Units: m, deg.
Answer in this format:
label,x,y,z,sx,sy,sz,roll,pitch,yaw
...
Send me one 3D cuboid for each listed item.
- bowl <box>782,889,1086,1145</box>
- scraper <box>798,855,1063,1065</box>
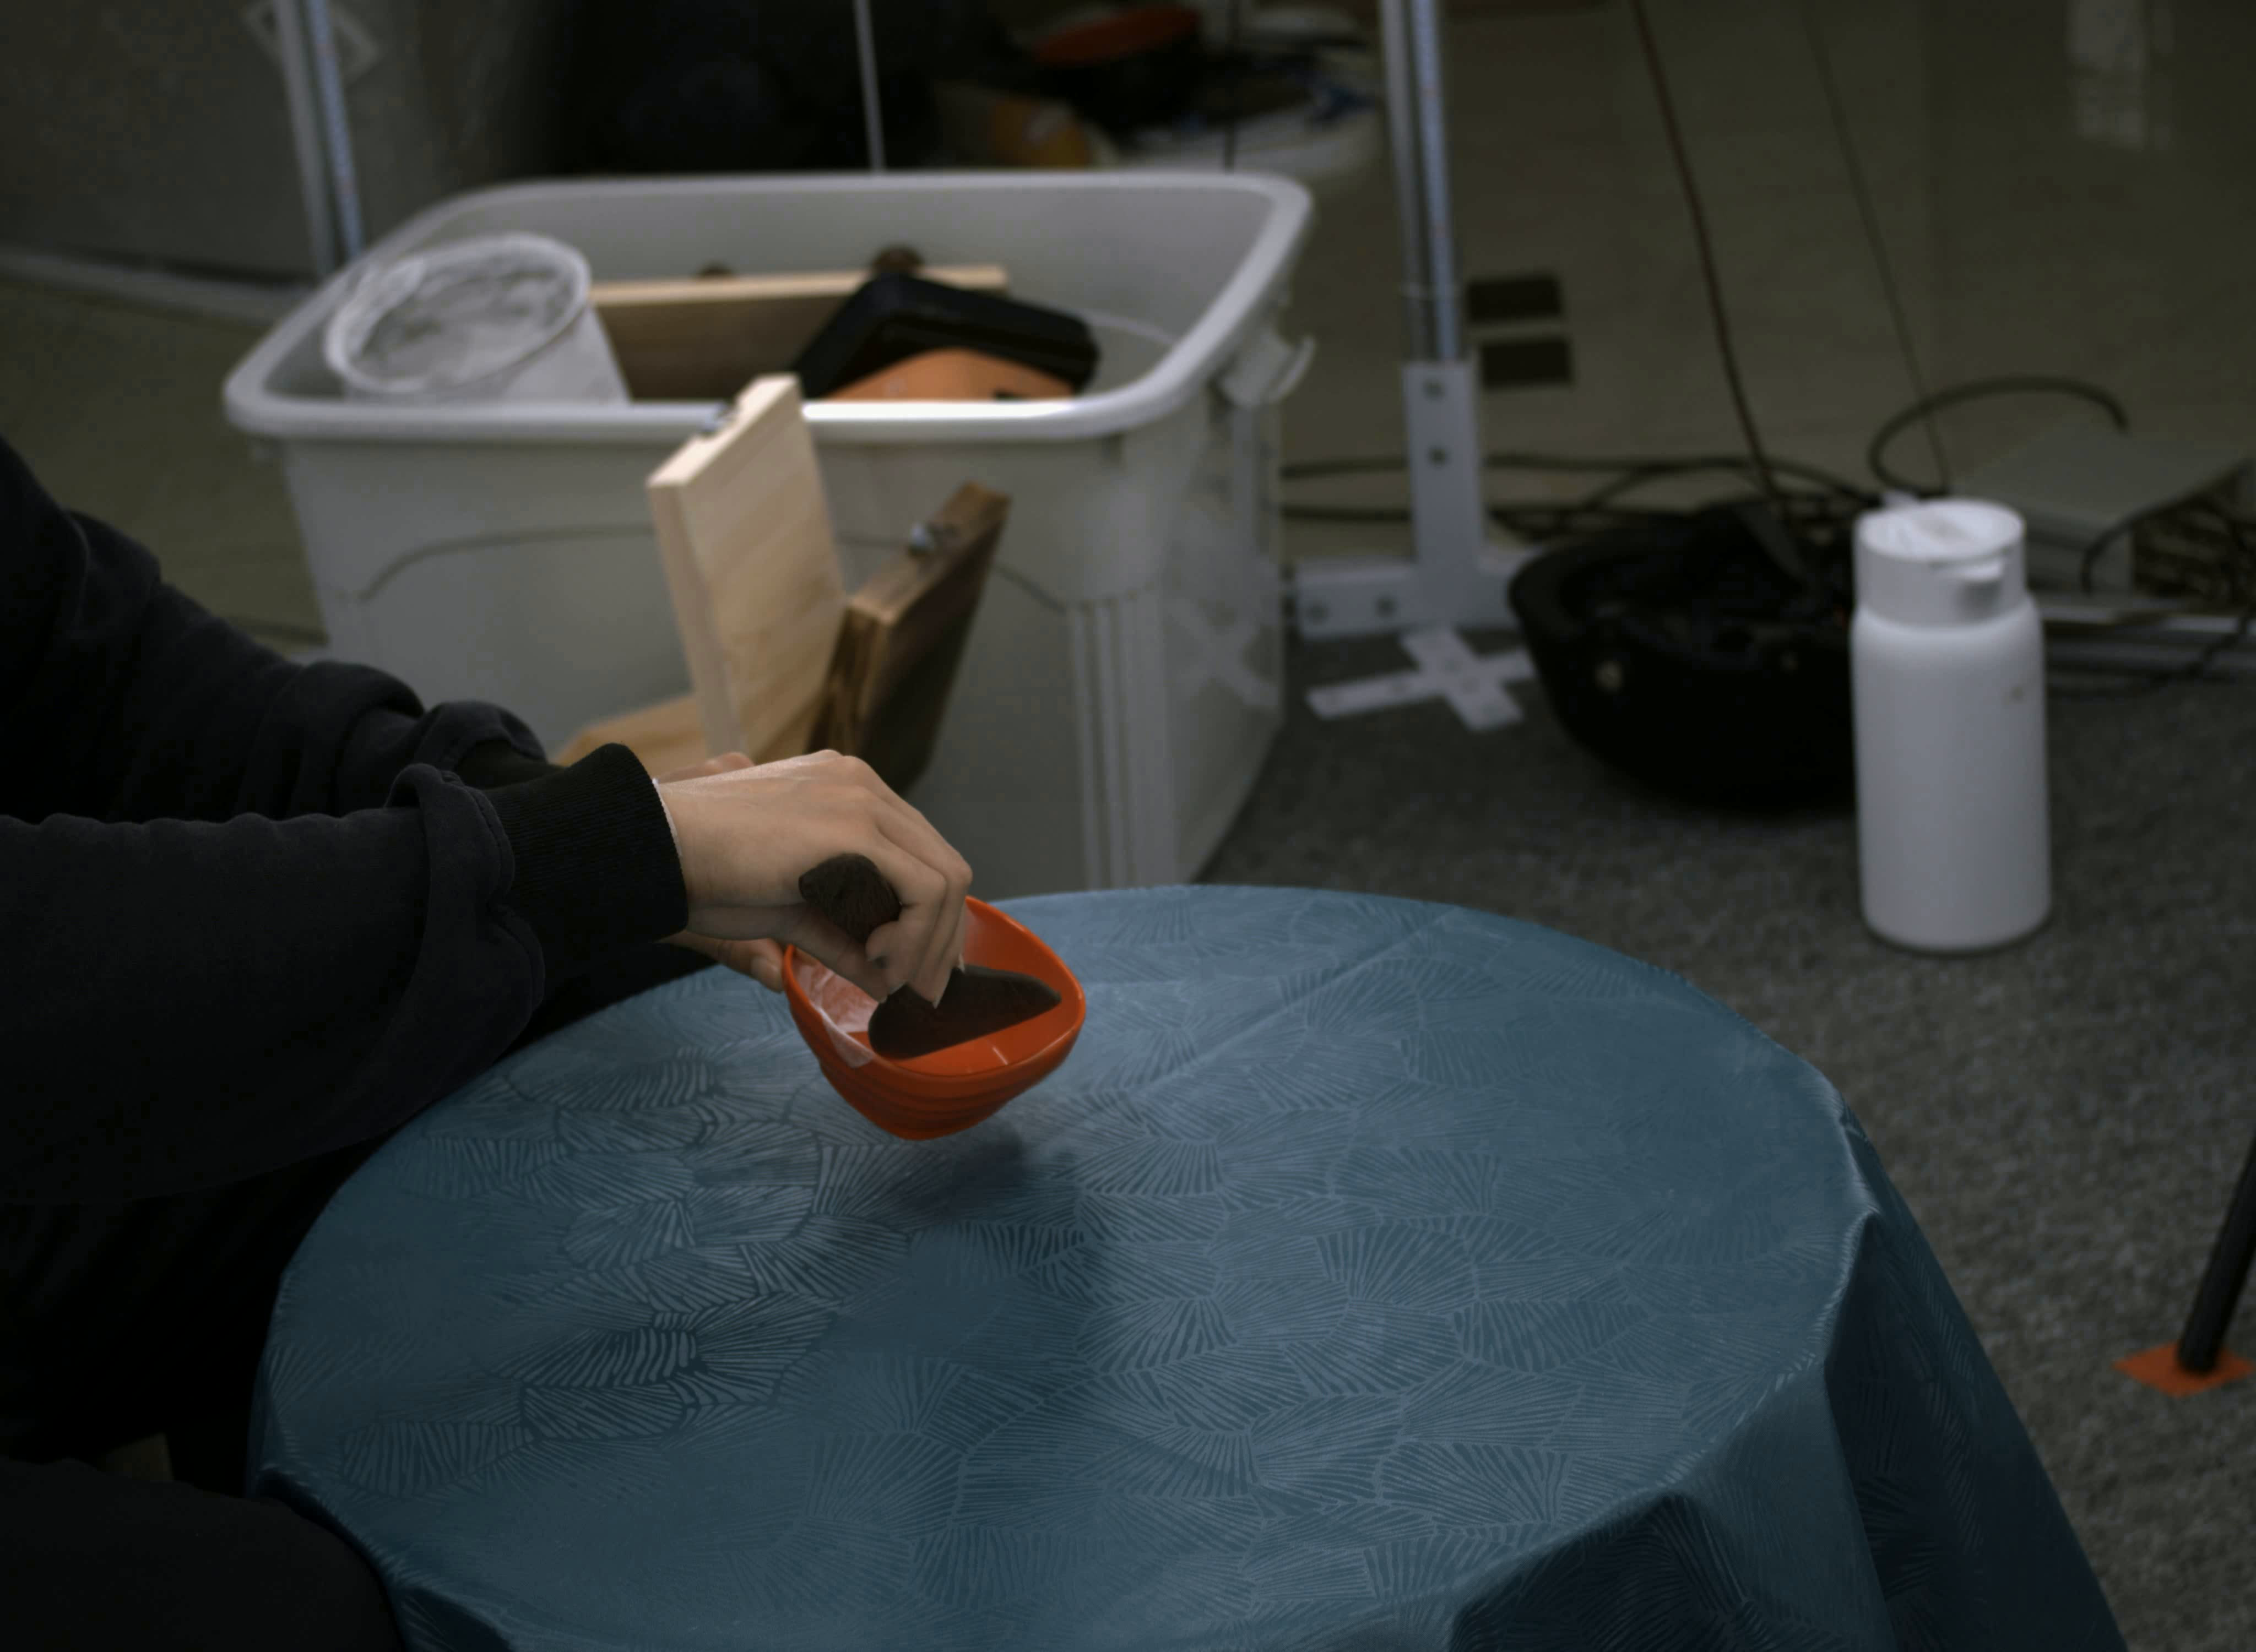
label,x,y,z,sx,sy,sz,roll,pitch,yaw
bowl,-0.079,0.080,2.197,0.119,0.052,0.117,10,38,-8
scraper,-0.081,0.049,2.085,0.076,0.213,0.010,-21,67,6
